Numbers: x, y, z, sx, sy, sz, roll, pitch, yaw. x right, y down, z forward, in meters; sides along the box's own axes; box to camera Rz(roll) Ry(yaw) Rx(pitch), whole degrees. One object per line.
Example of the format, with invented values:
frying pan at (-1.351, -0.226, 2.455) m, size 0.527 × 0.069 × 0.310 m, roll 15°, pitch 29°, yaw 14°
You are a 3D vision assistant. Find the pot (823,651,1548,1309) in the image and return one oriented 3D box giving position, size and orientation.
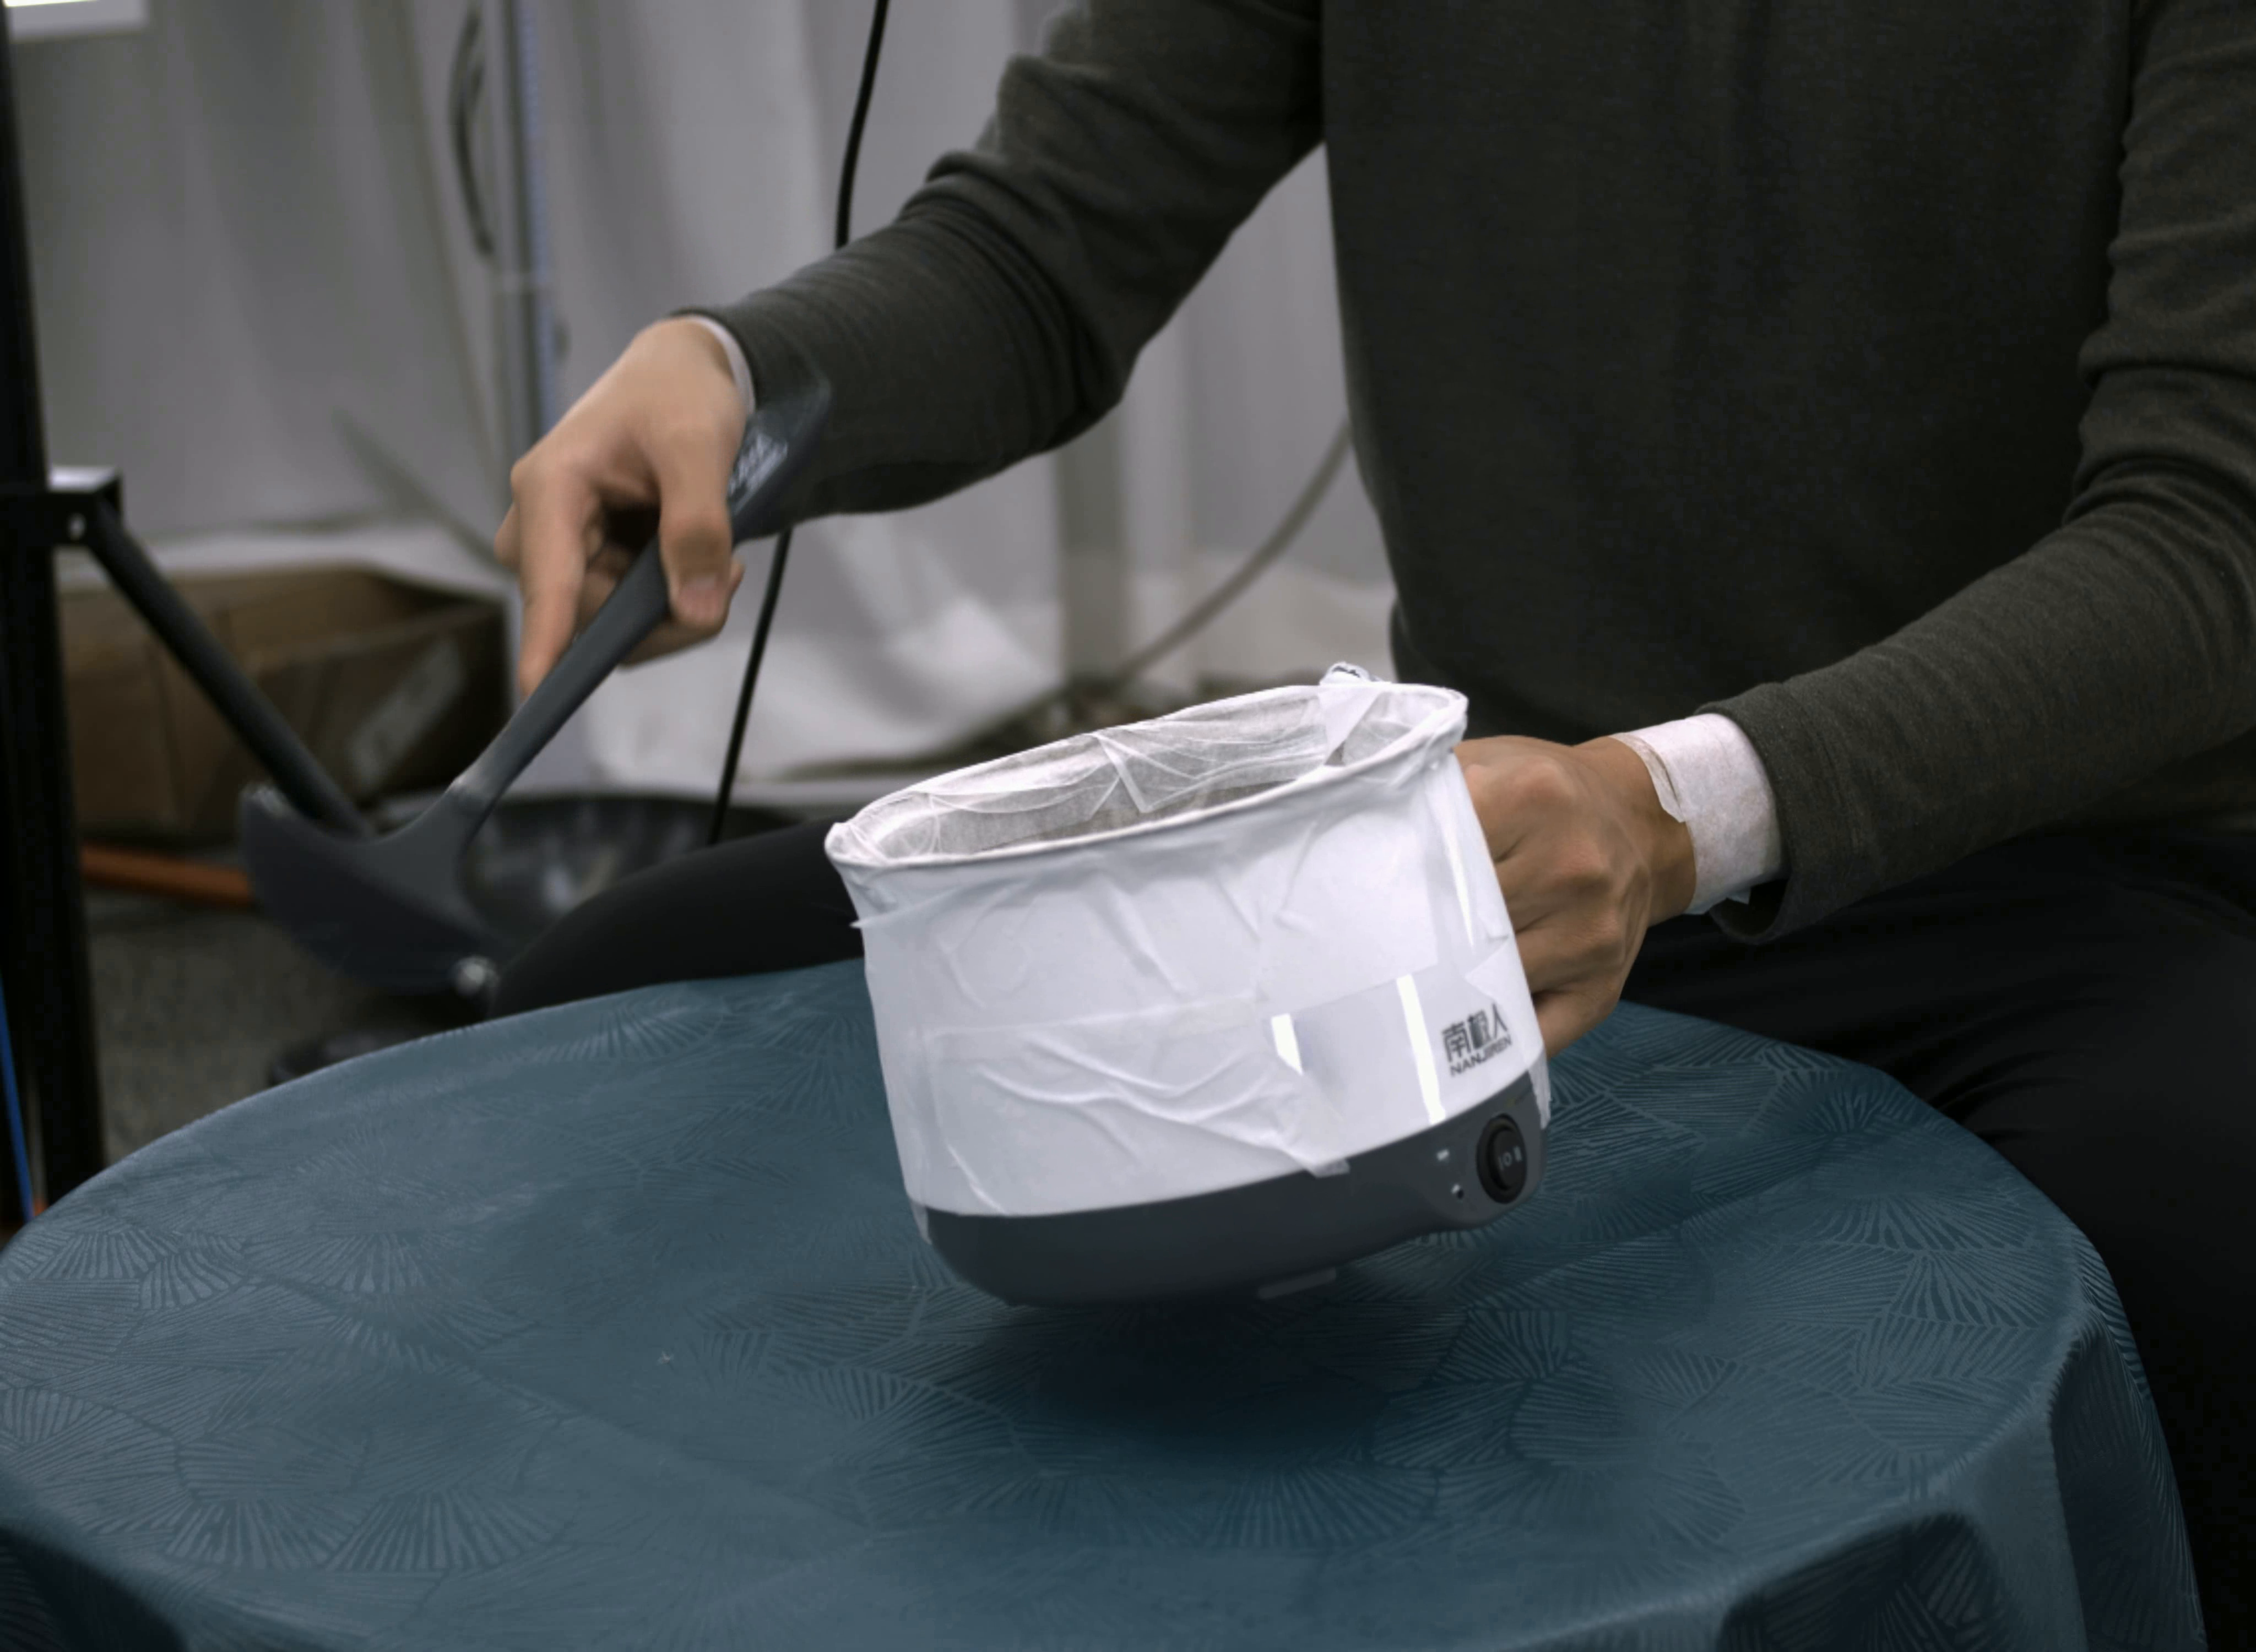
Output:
pot at (0.034, 0.037, 1.446) m, size 0.182 × 0.136 × 0.229 m, roll -5°, pitch 13°, yaw 37°

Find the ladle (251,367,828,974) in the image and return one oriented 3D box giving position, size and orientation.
ladle at (-0.154, -0.063, 1.564) m, size 0.086 × 0.064 × 0.312 m, roll 32°, pitch 46°, yaw 2°
